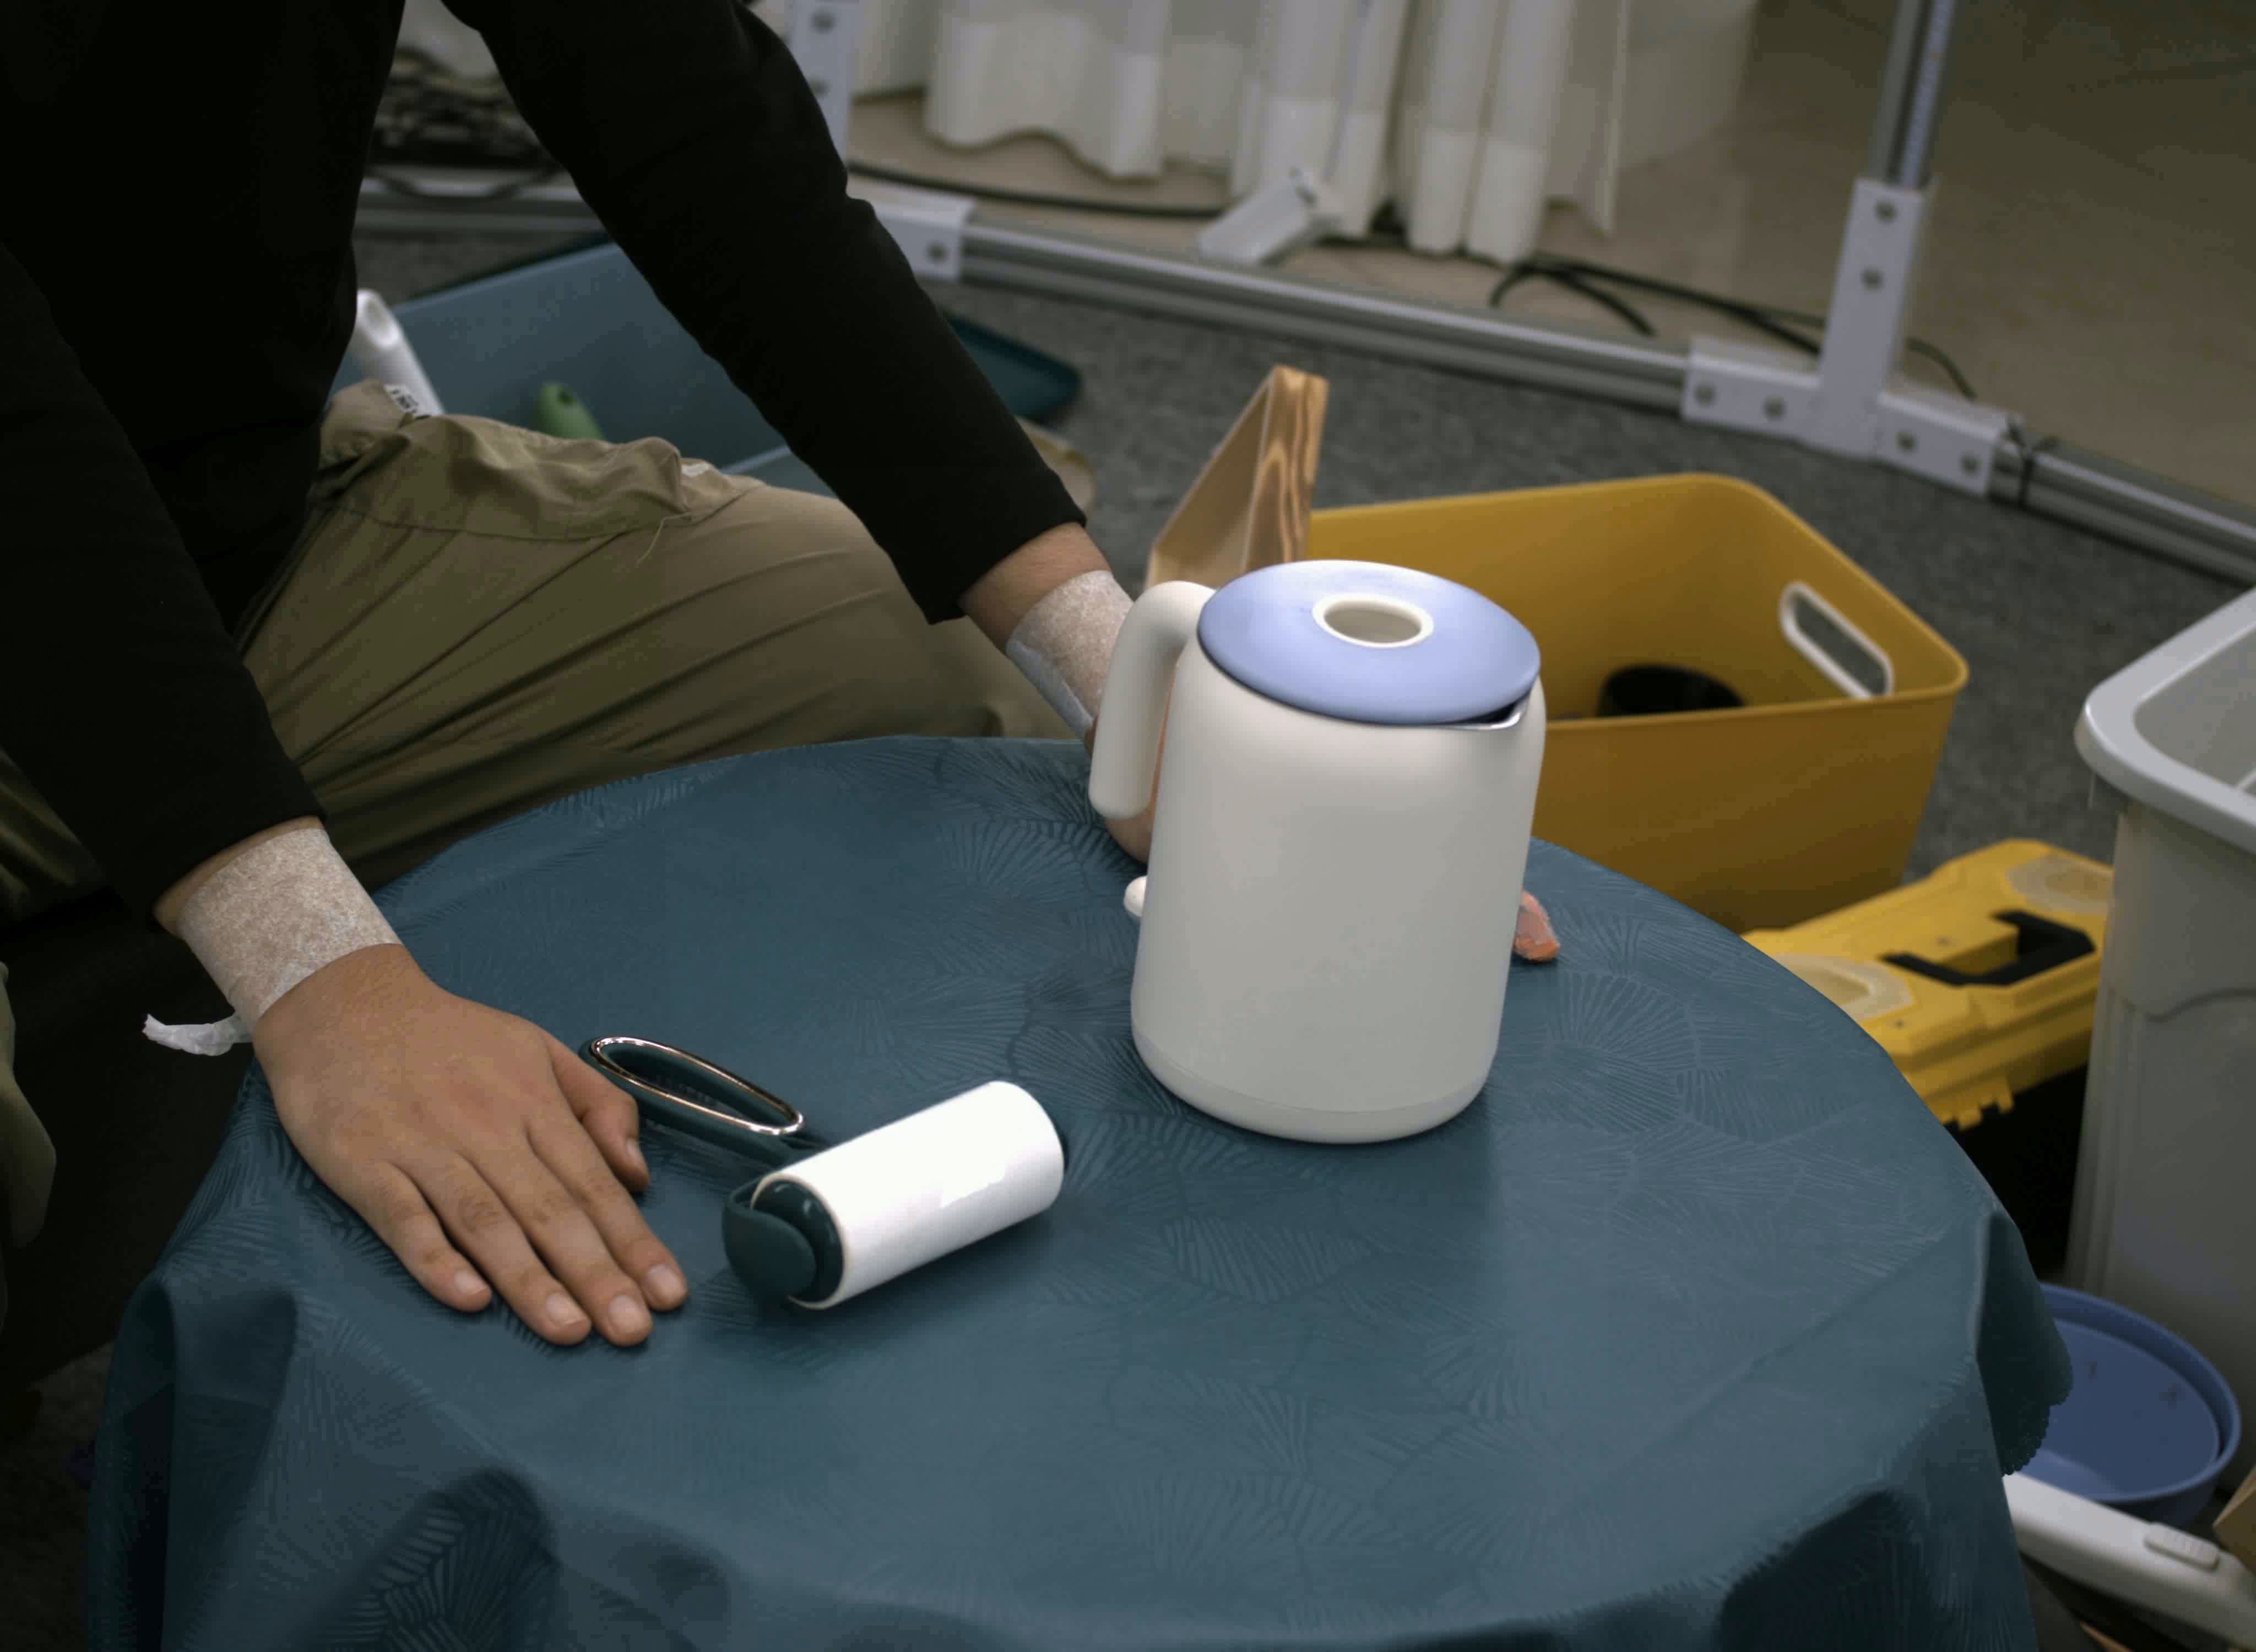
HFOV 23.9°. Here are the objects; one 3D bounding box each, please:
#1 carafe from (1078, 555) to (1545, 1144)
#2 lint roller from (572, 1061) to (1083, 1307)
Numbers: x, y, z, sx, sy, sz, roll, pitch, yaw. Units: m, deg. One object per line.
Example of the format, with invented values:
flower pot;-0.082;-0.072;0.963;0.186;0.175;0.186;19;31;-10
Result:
carafe;0.056;-0.001;1.871;0.192;0.182;0.131;27;32;38
lint roller;-0.122;0.097;1.781;0.181;0.048;0.133;25;32;37
